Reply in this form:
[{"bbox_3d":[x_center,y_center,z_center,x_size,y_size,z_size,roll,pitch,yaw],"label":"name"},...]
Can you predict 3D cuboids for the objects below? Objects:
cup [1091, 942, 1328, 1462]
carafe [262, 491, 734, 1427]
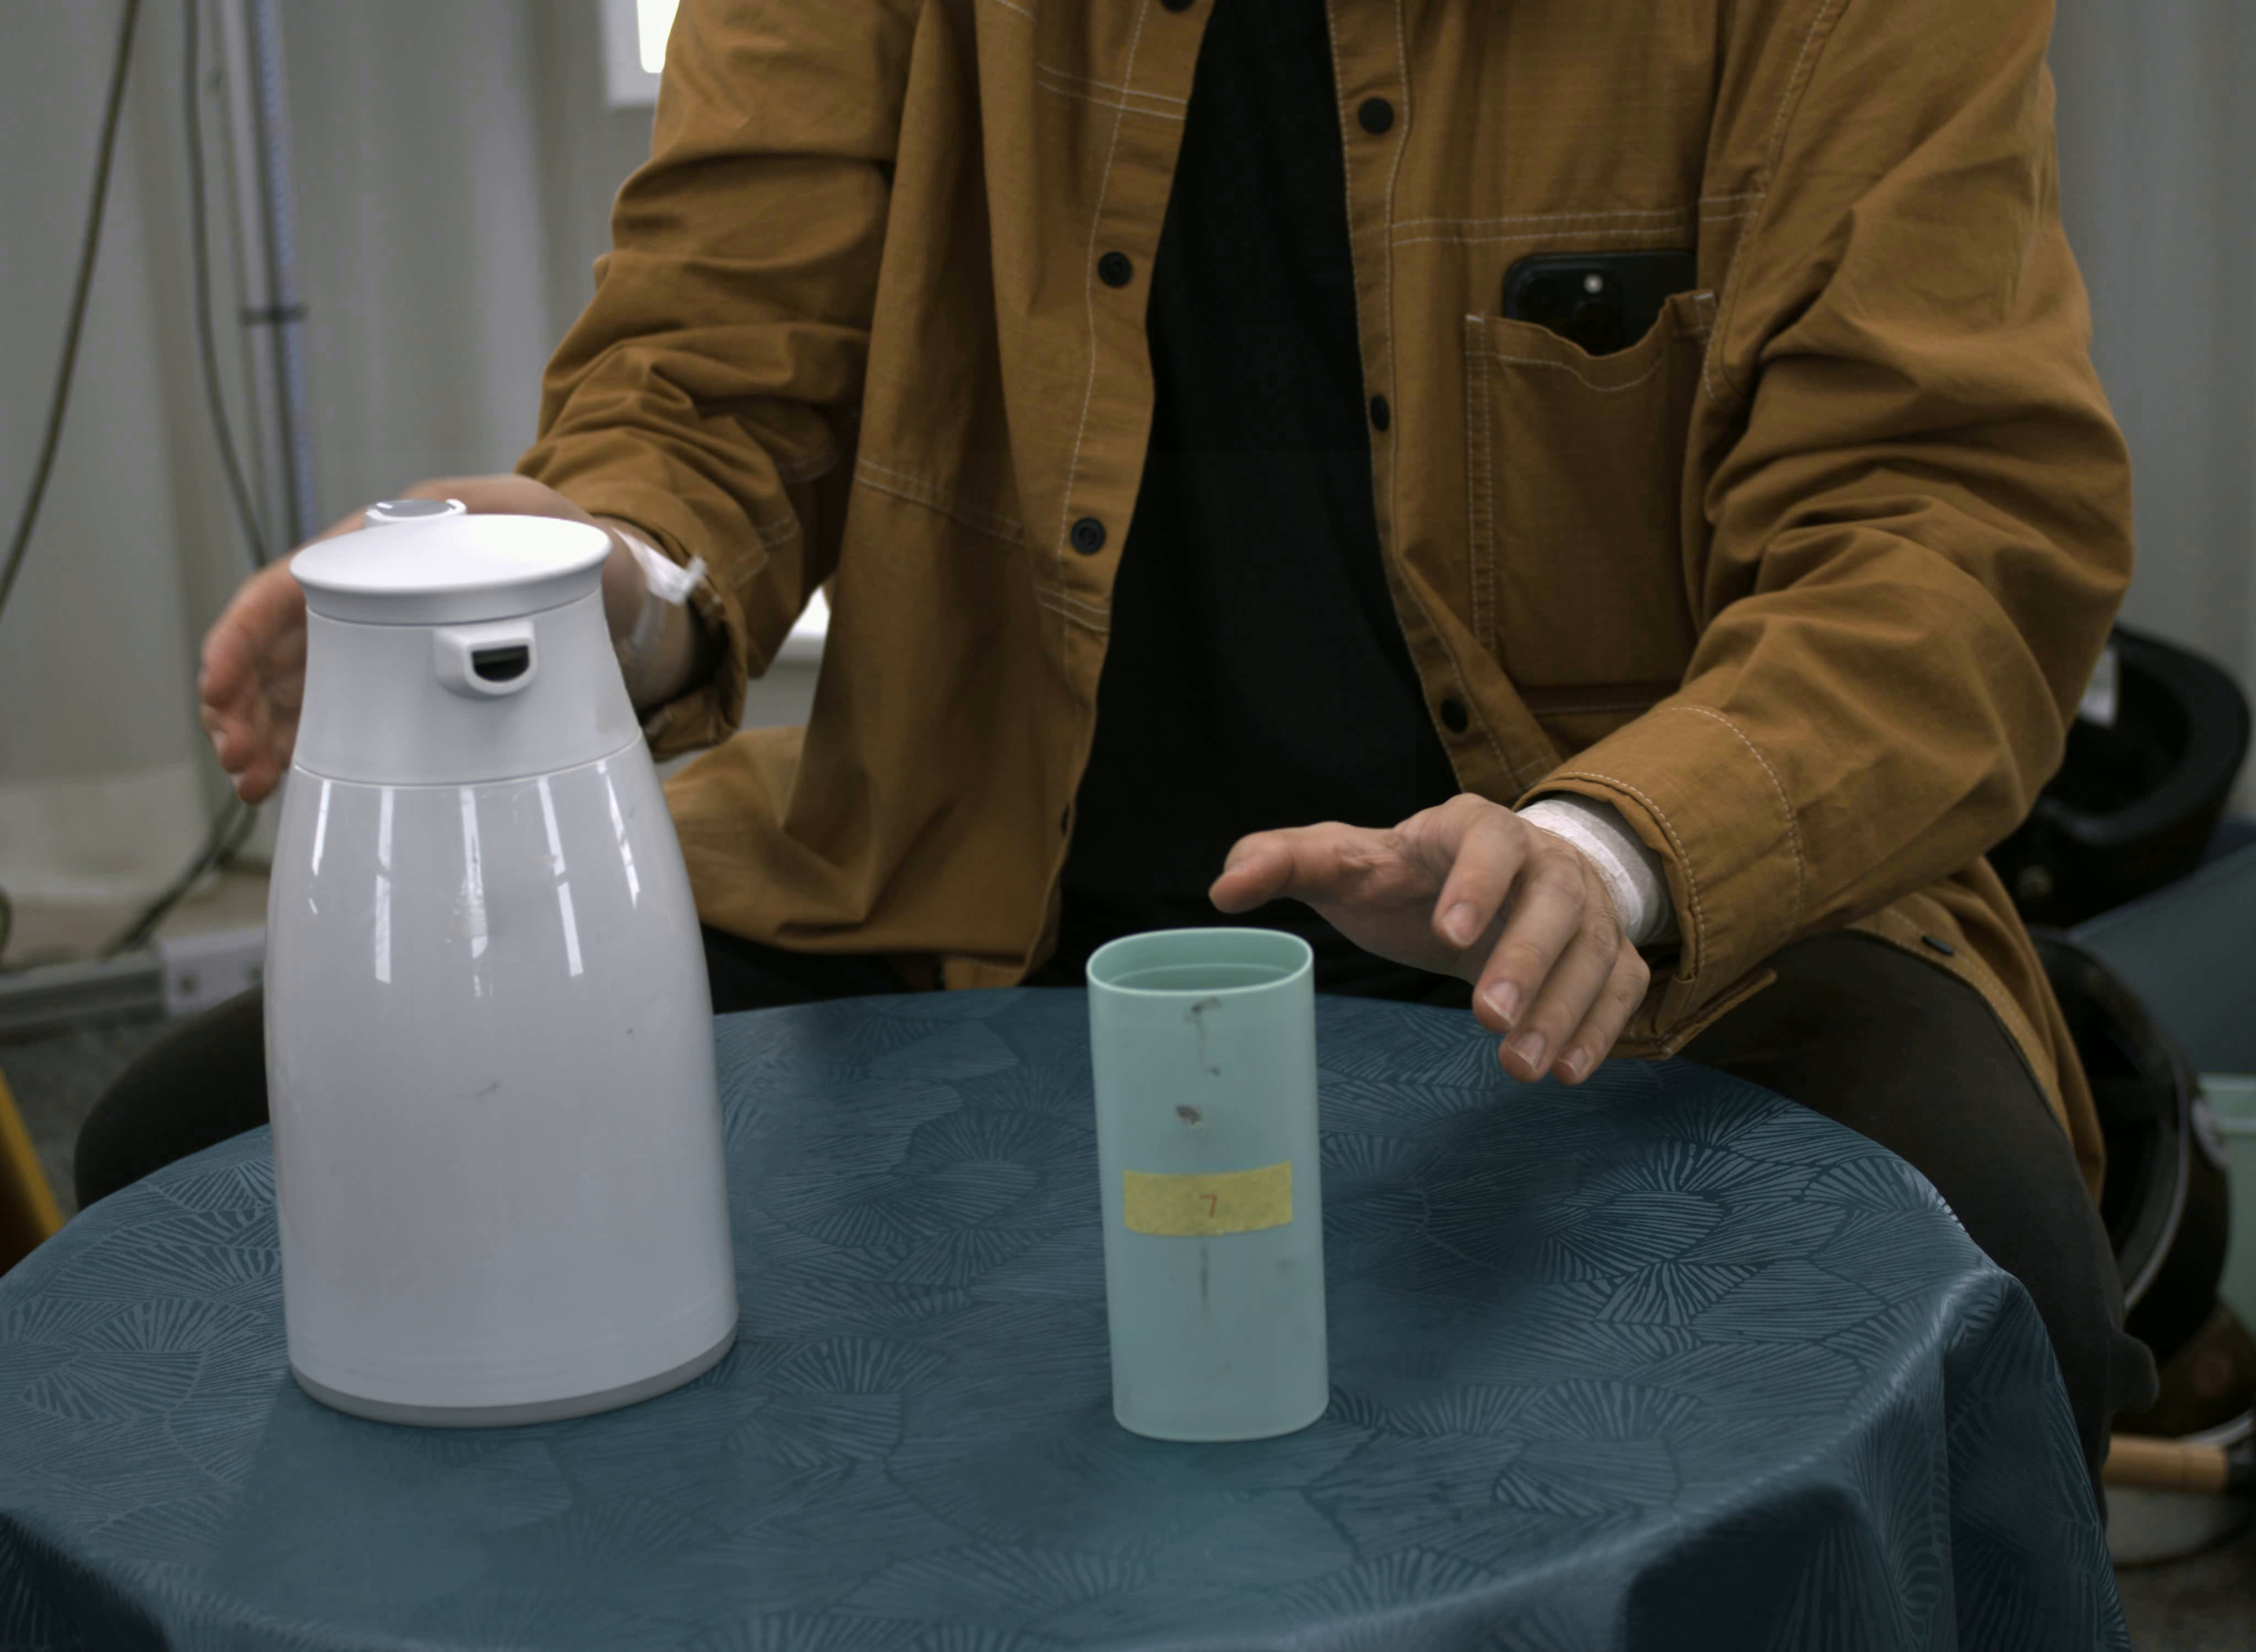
[{"bbox_3d":[0.024,0.103,1.515,0.066,0.132,0.067,-2,14,0],"label":"cup"},{"bbox_3d":[-0.193,0.030,1.592,0.132,0.248,0.169,-8,14,-18],"label":"carafe"}]
